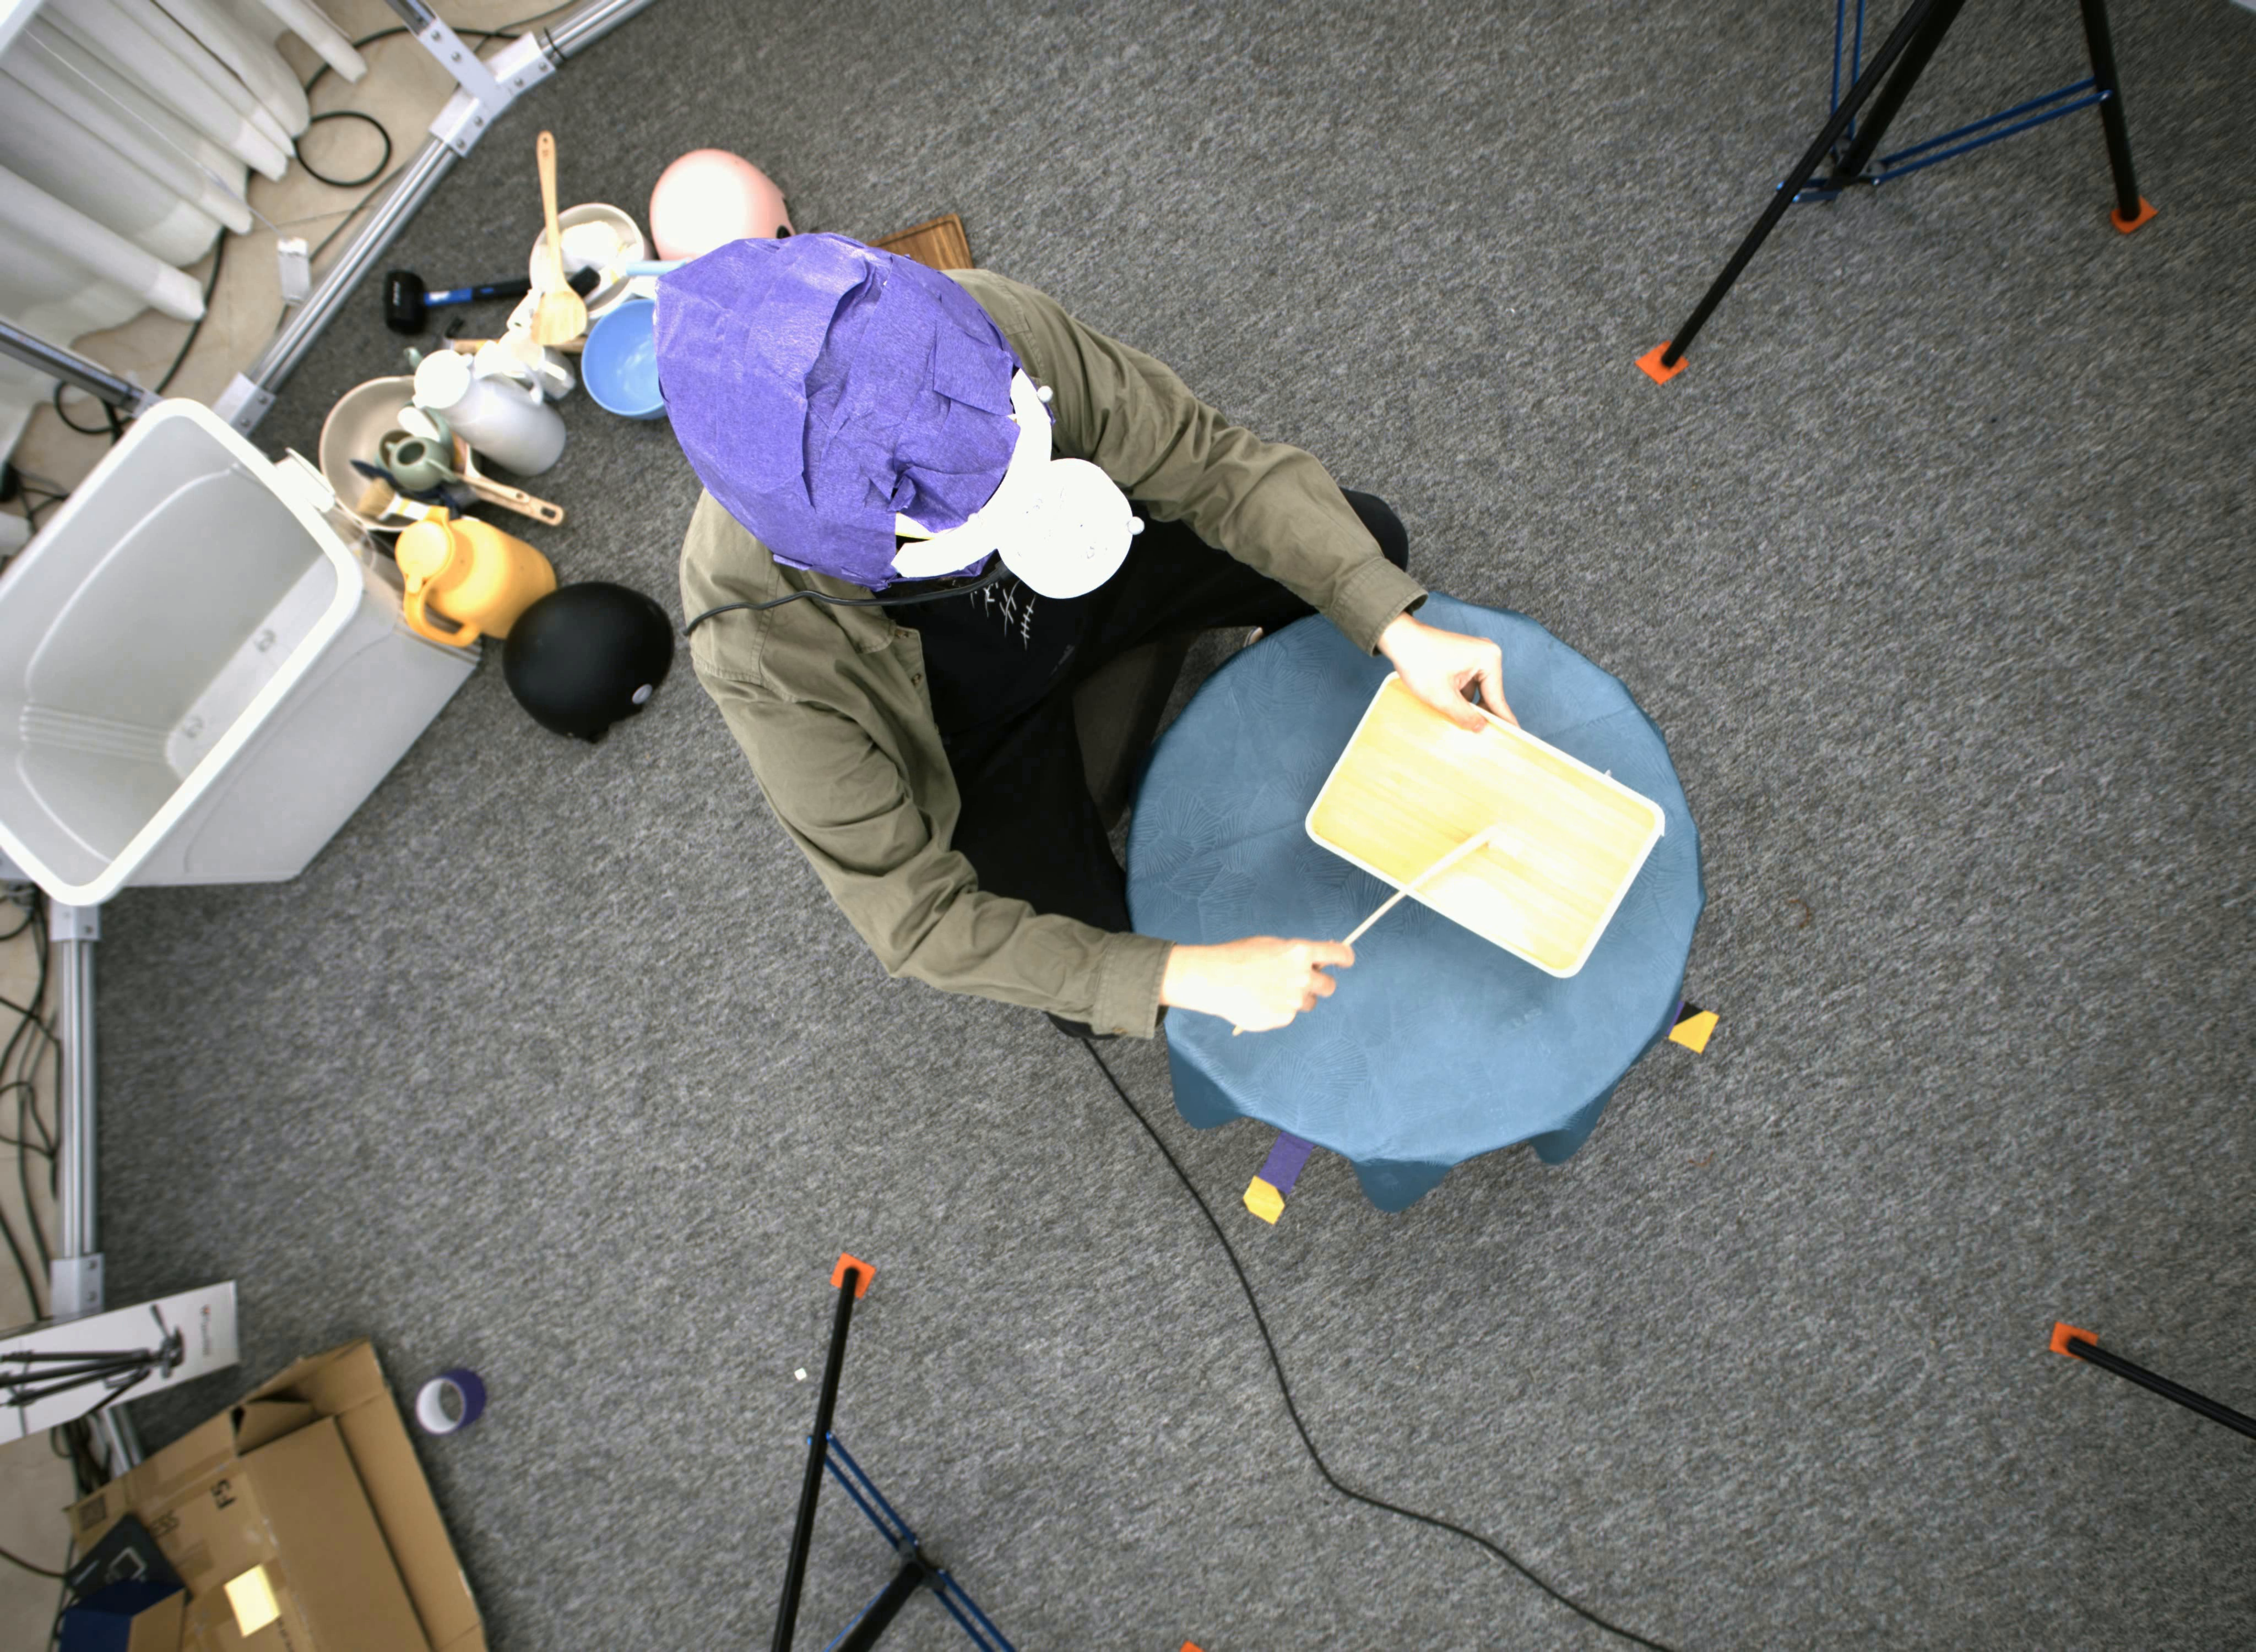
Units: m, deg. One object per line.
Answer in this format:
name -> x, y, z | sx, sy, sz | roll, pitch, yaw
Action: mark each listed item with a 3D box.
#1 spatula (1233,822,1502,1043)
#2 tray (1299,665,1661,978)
spatula -> 0.224, 0.095, 1.278 | 0.326, 0.080, 0.016 | -40, 78, -5
tray -> 0.335, -0.007, 1.325 | 0.300, 0.027, 0.193 | 30, 98, 7
